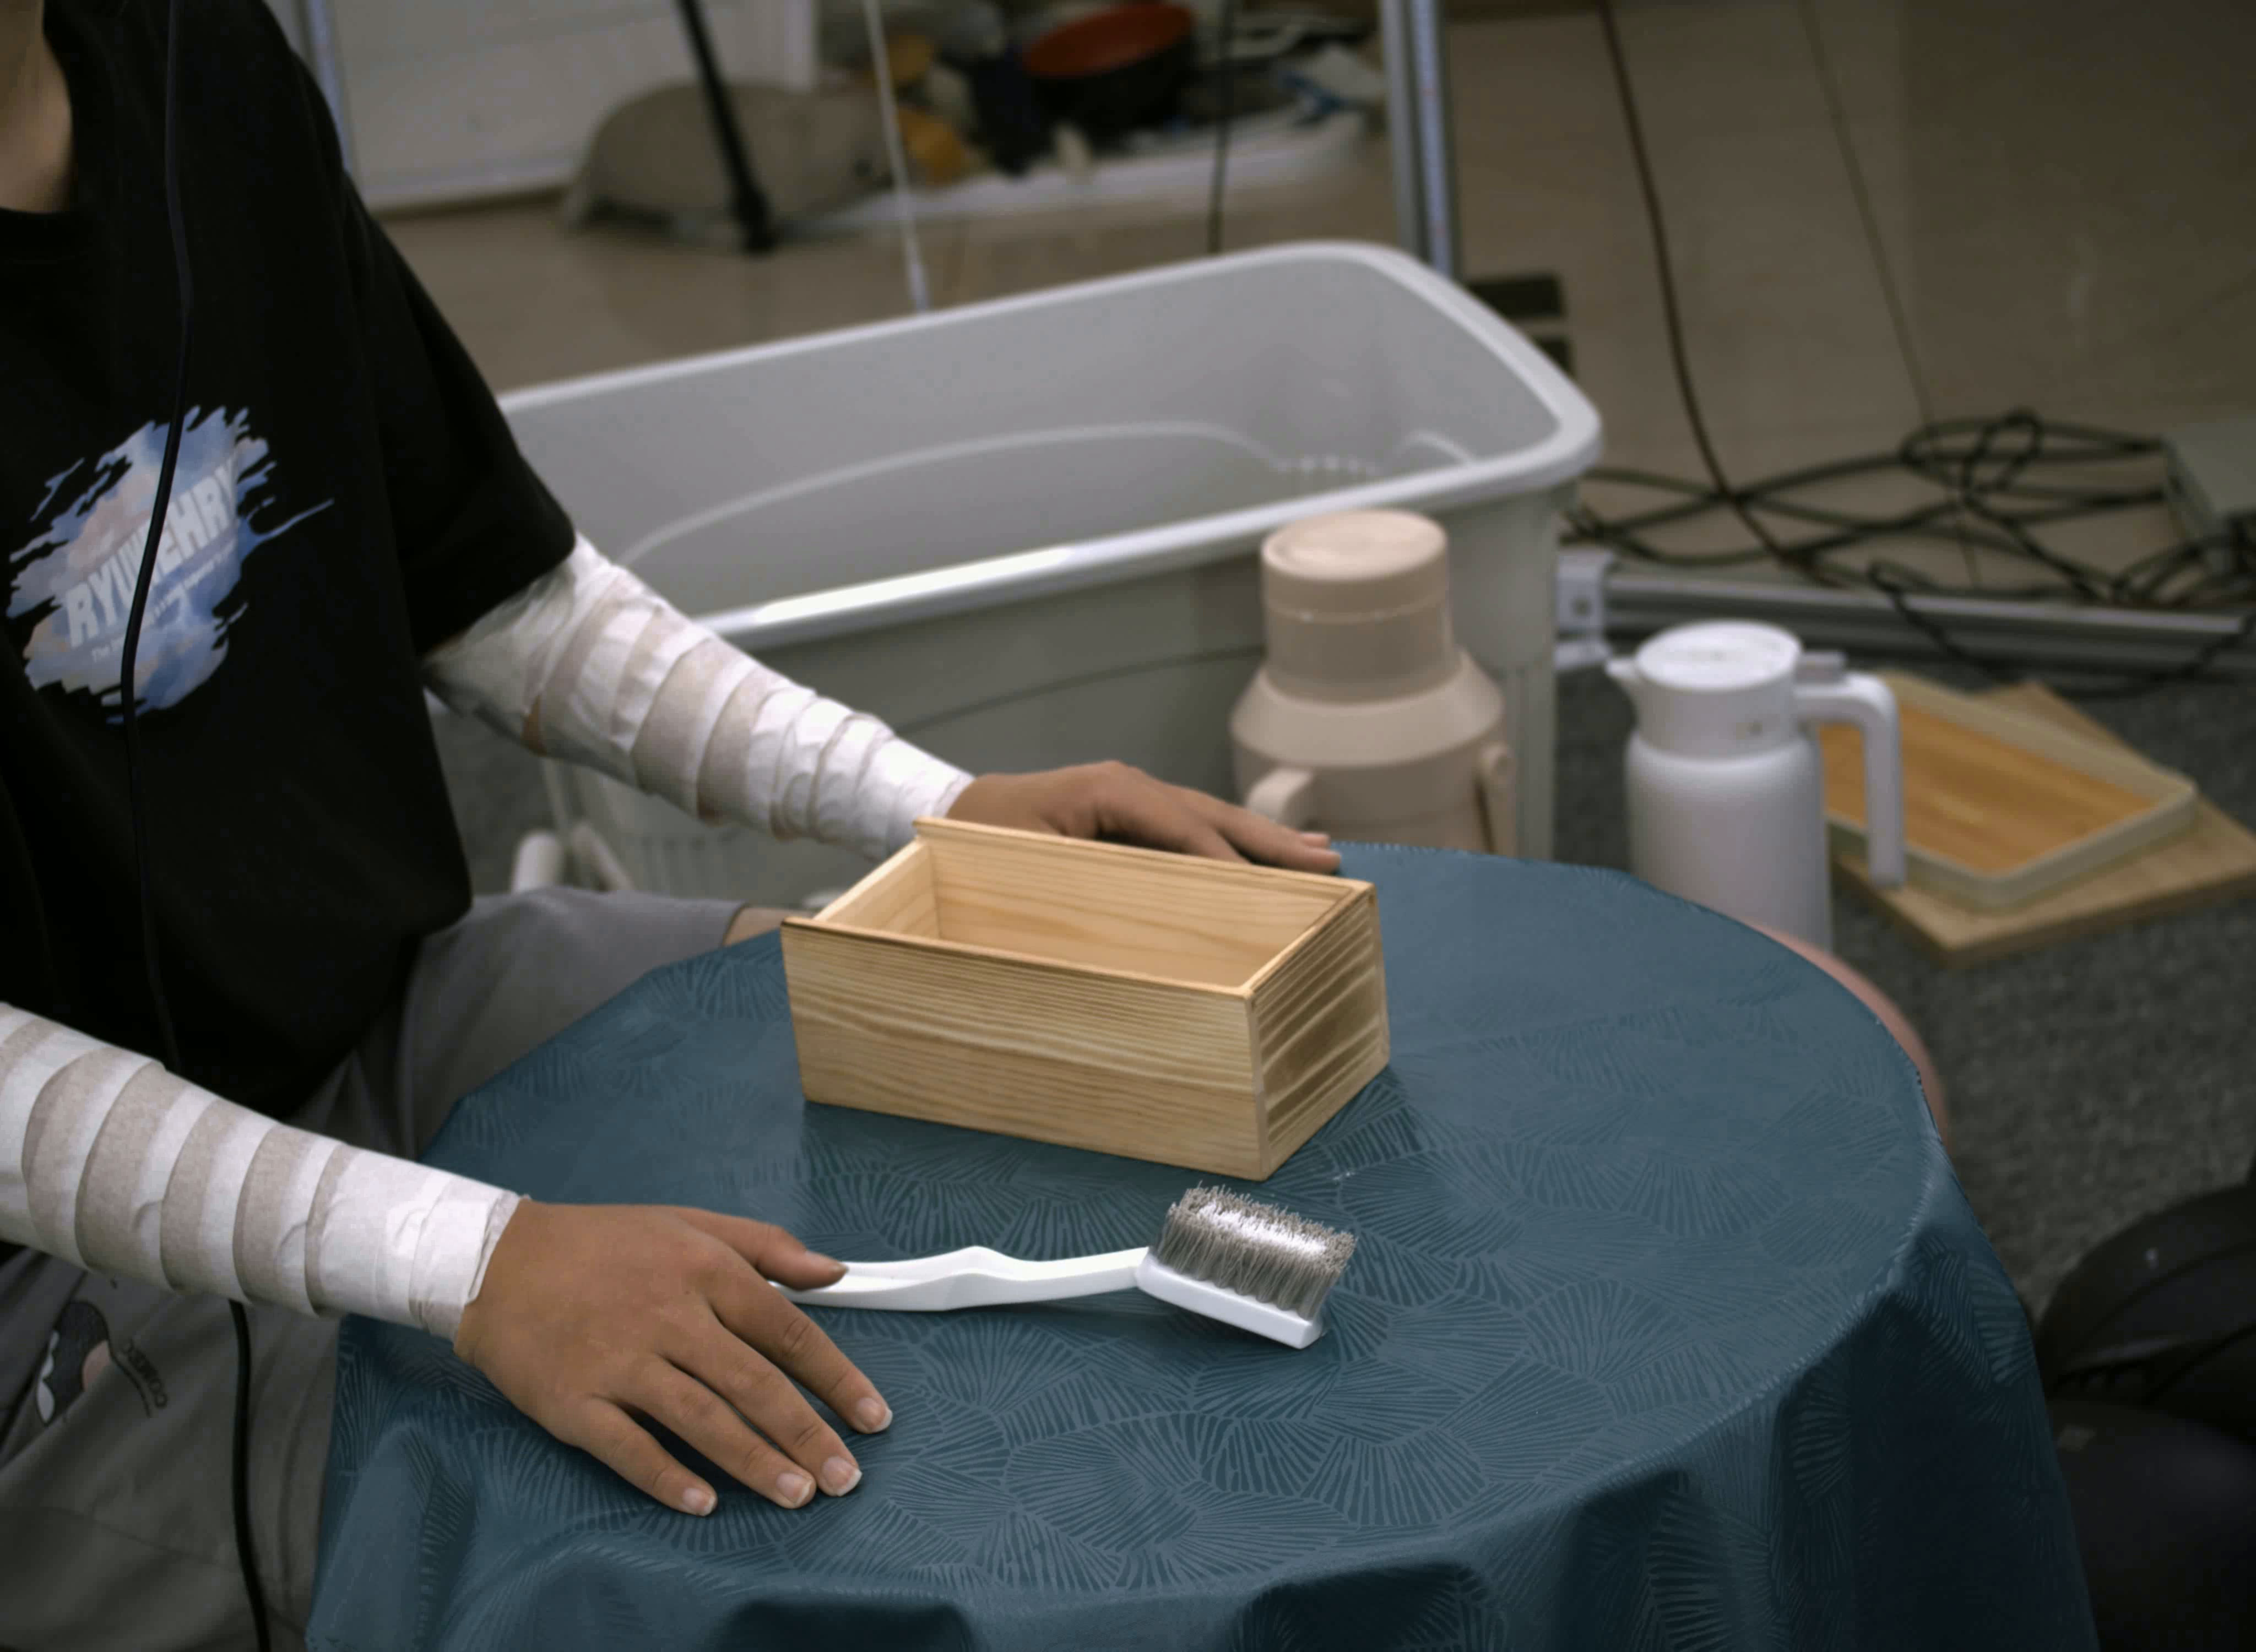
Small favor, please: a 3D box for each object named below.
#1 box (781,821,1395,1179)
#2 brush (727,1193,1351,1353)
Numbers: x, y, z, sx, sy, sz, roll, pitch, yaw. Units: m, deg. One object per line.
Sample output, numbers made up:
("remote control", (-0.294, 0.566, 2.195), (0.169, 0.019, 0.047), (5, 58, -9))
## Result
("box", (-0.015, 0.066, 2.215), (0.210, 0.081, 0.106), (7, 29, 30))
("brush", (-0.036, 0.154, 2.064), (0.243, 0.051, 0.034), (4, 27, 21))
